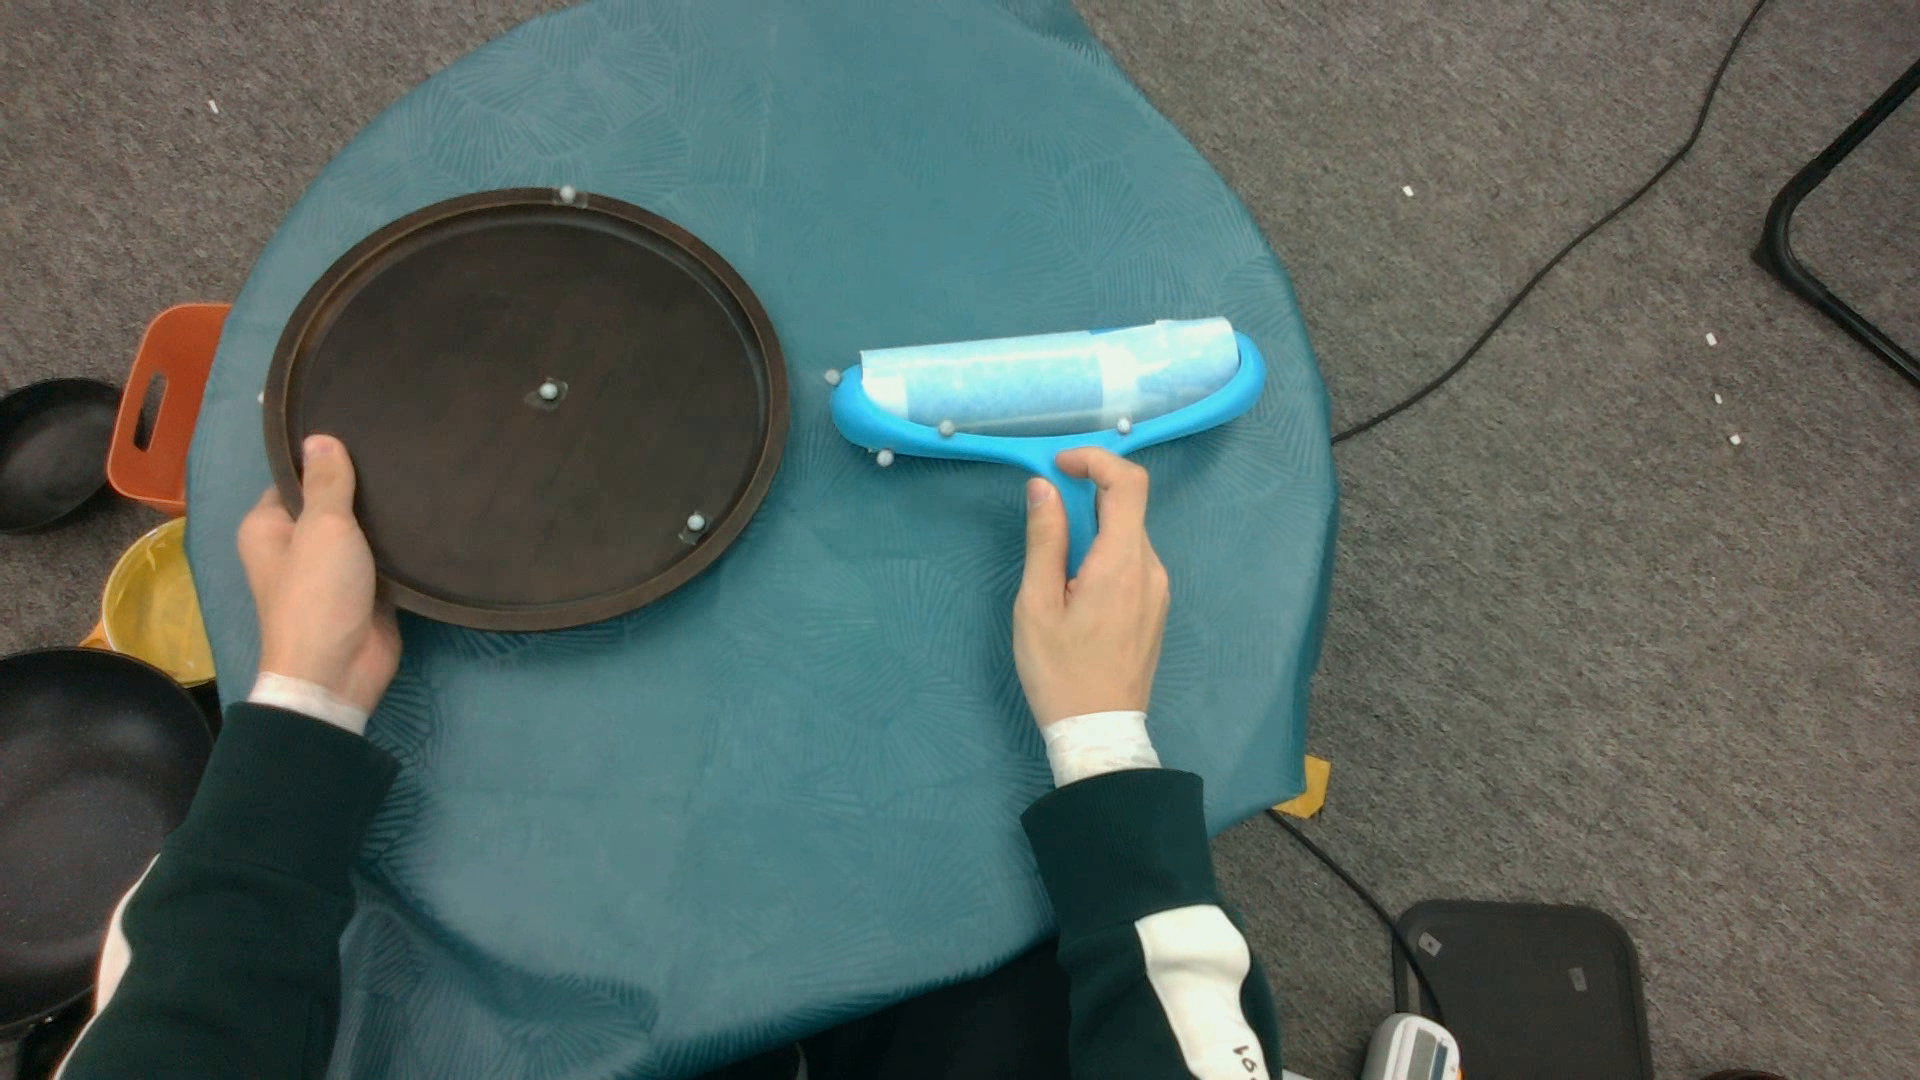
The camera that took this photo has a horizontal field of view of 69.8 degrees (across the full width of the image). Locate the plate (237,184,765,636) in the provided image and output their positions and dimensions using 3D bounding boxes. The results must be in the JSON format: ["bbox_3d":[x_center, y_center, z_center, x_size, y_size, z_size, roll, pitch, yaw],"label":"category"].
[{"bbox_3d":[-0.228,-0.070,0.700,0.255,0.029,0.255,4,66,-8],"label":"plate"}]

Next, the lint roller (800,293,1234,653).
[{"bbox_3d":[0.043,-0.037,0.699,0.229,0.067,0.181,-9,68,-9],"label":"lint roller"}]
